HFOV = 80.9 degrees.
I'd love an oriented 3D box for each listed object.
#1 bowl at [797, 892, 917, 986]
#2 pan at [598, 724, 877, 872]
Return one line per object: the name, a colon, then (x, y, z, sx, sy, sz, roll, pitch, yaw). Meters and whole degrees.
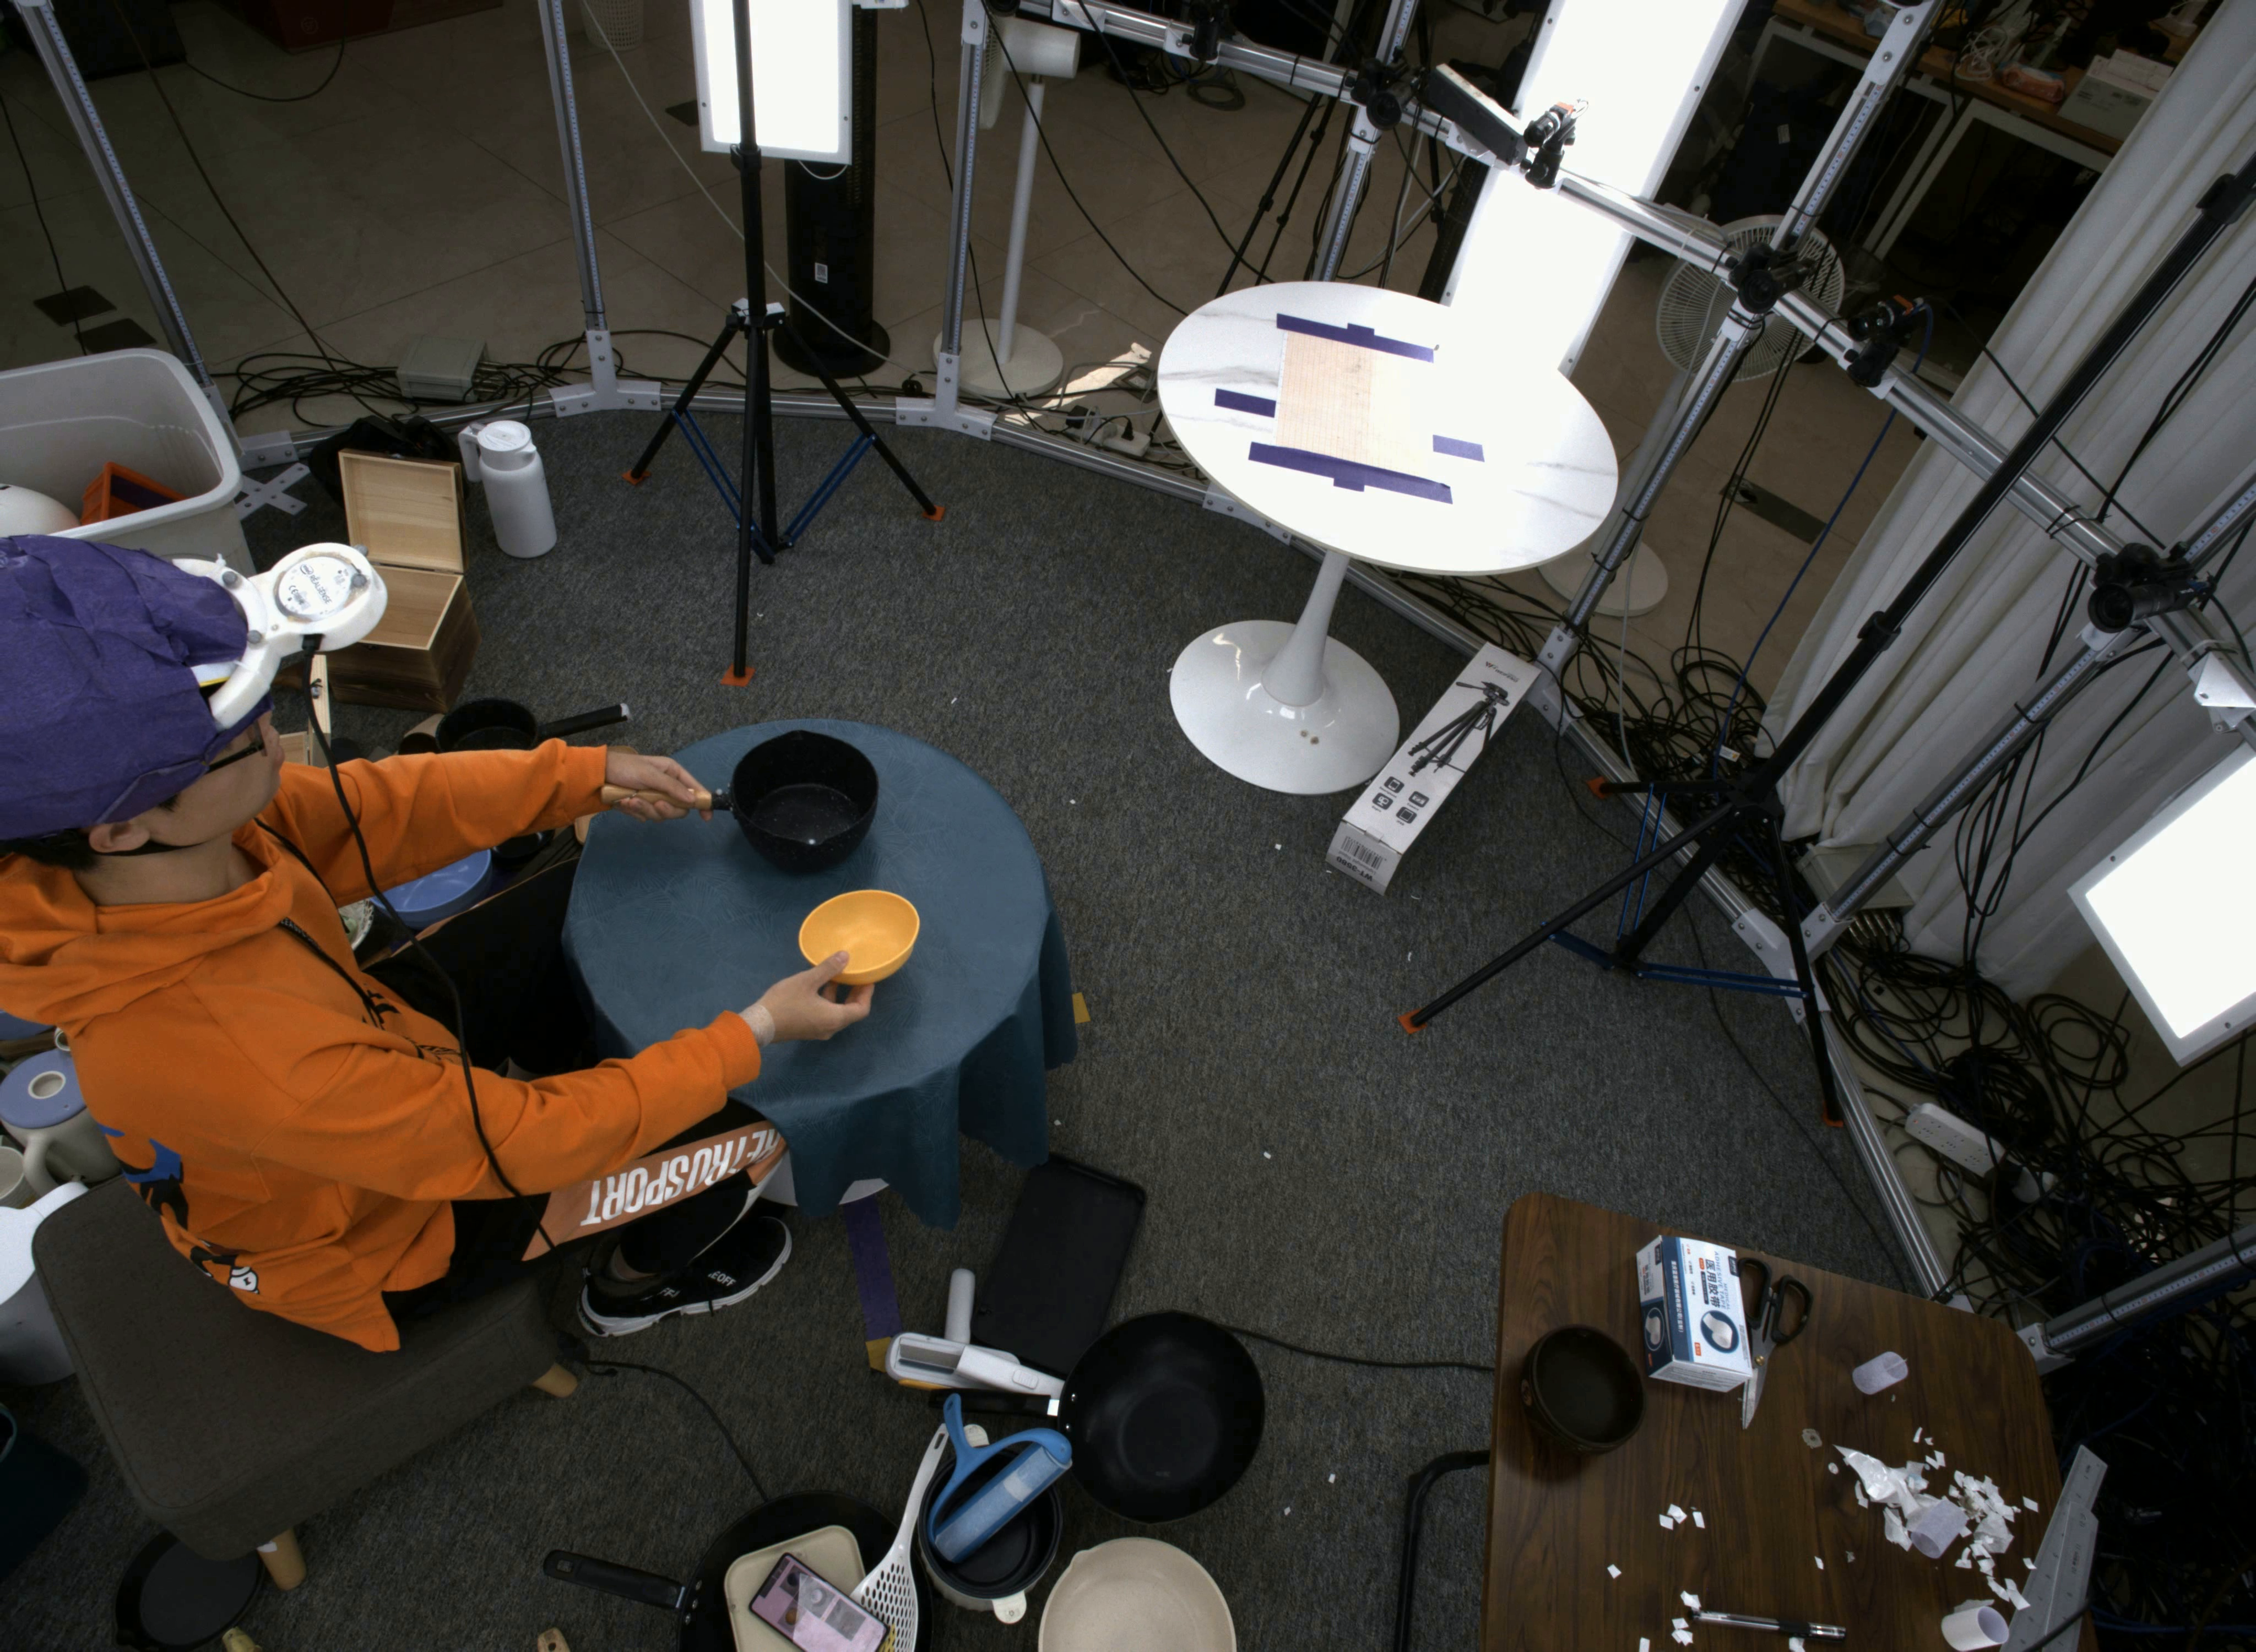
bowl: (-0.318, 0.144, 1.552, 0.143, 0.062, 0.142, -1, 38, 3)
pan: (-0.489, -0.027, 1.626, 0.345, 0.110, 0.202, -6, 53, -21)
